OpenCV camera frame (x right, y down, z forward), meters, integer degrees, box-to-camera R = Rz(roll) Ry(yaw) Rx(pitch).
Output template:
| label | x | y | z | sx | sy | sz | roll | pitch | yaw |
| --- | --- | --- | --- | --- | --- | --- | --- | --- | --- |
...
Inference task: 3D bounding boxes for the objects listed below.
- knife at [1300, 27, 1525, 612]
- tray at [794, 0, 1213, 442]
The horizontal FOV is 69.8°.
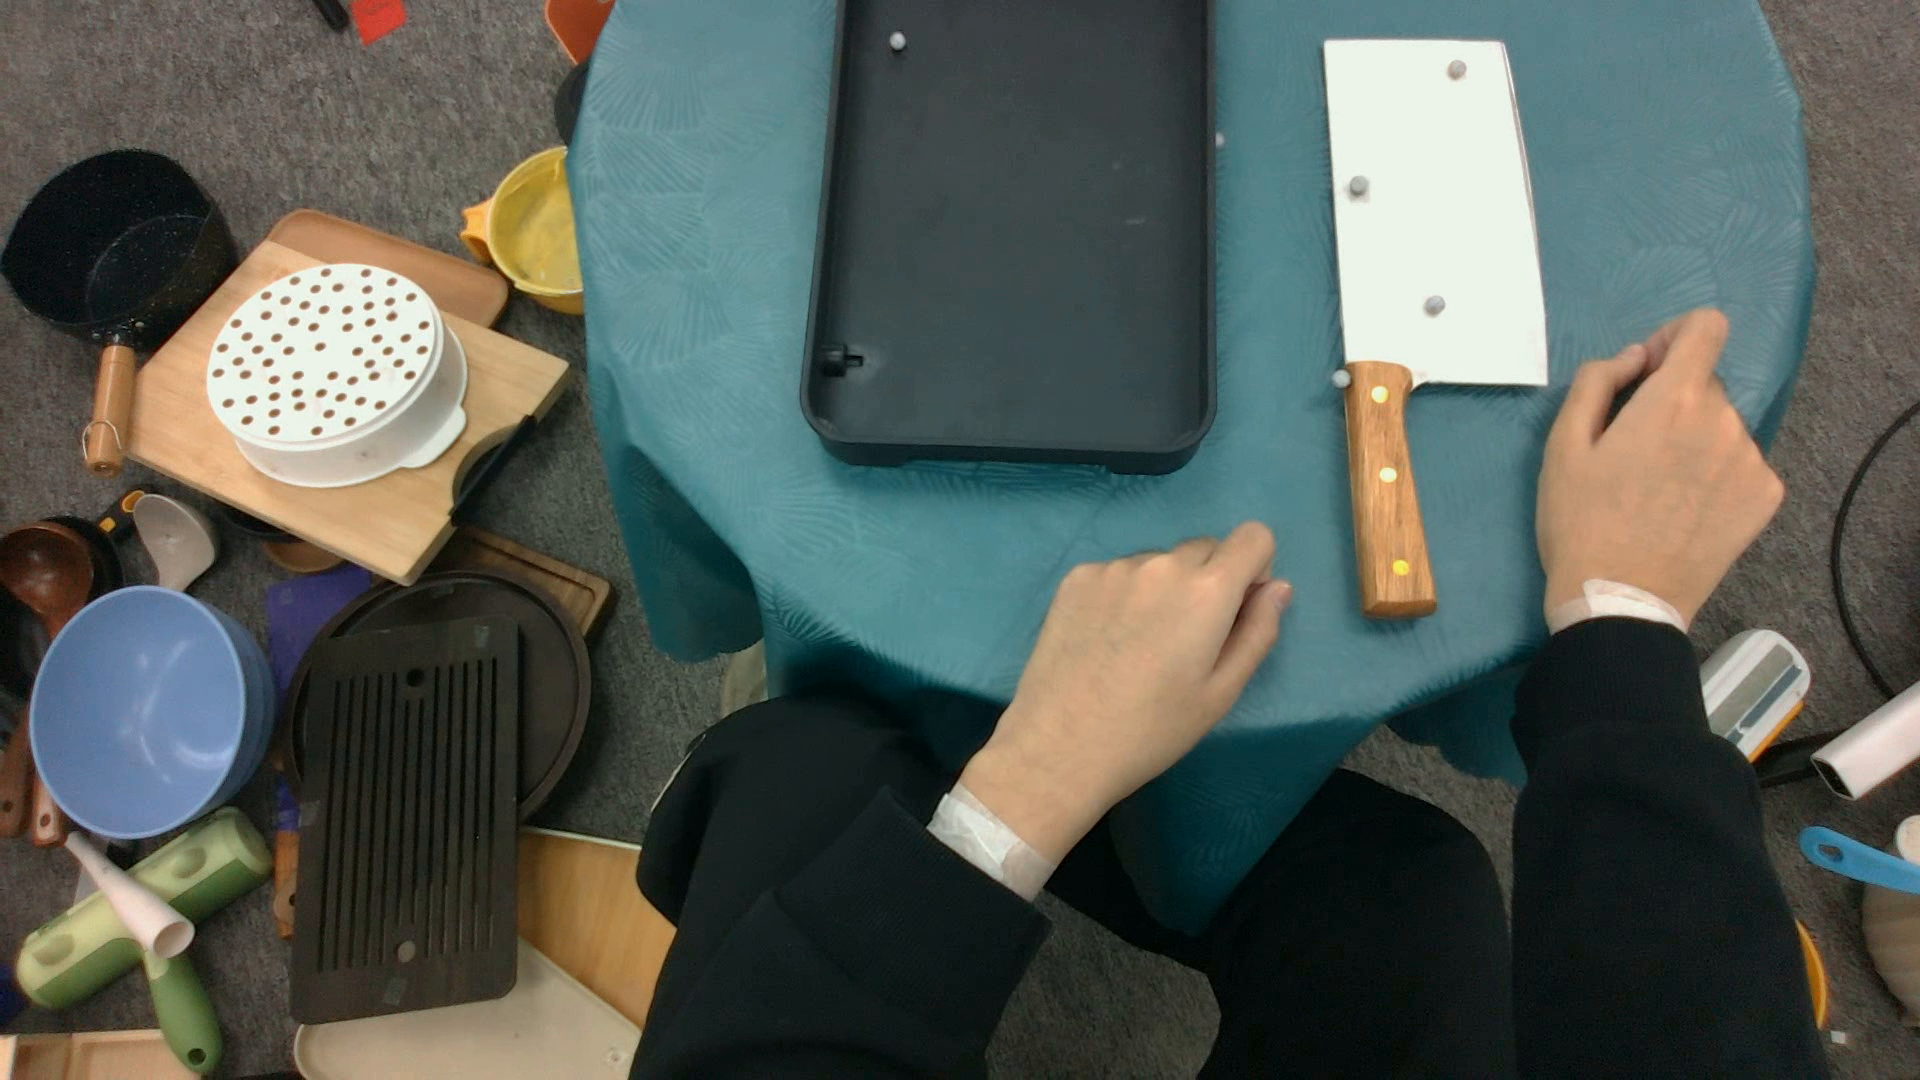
| label | x | y | z | sx | sy | sz | roll | pitch | yaw |
| --- | --- | --- | --- | --- | --- | --- | --- | --- | --- |
| knife | 0.211 | -0.113 | 0.635 | 0.093 | 0.021 | 0.306 | 1 | 69 | 1 |
| tray | 0.020 | -0.198 | 0.660 | 0.184 | 0.037 | 0.319 | 0 | 72 | 2 |
